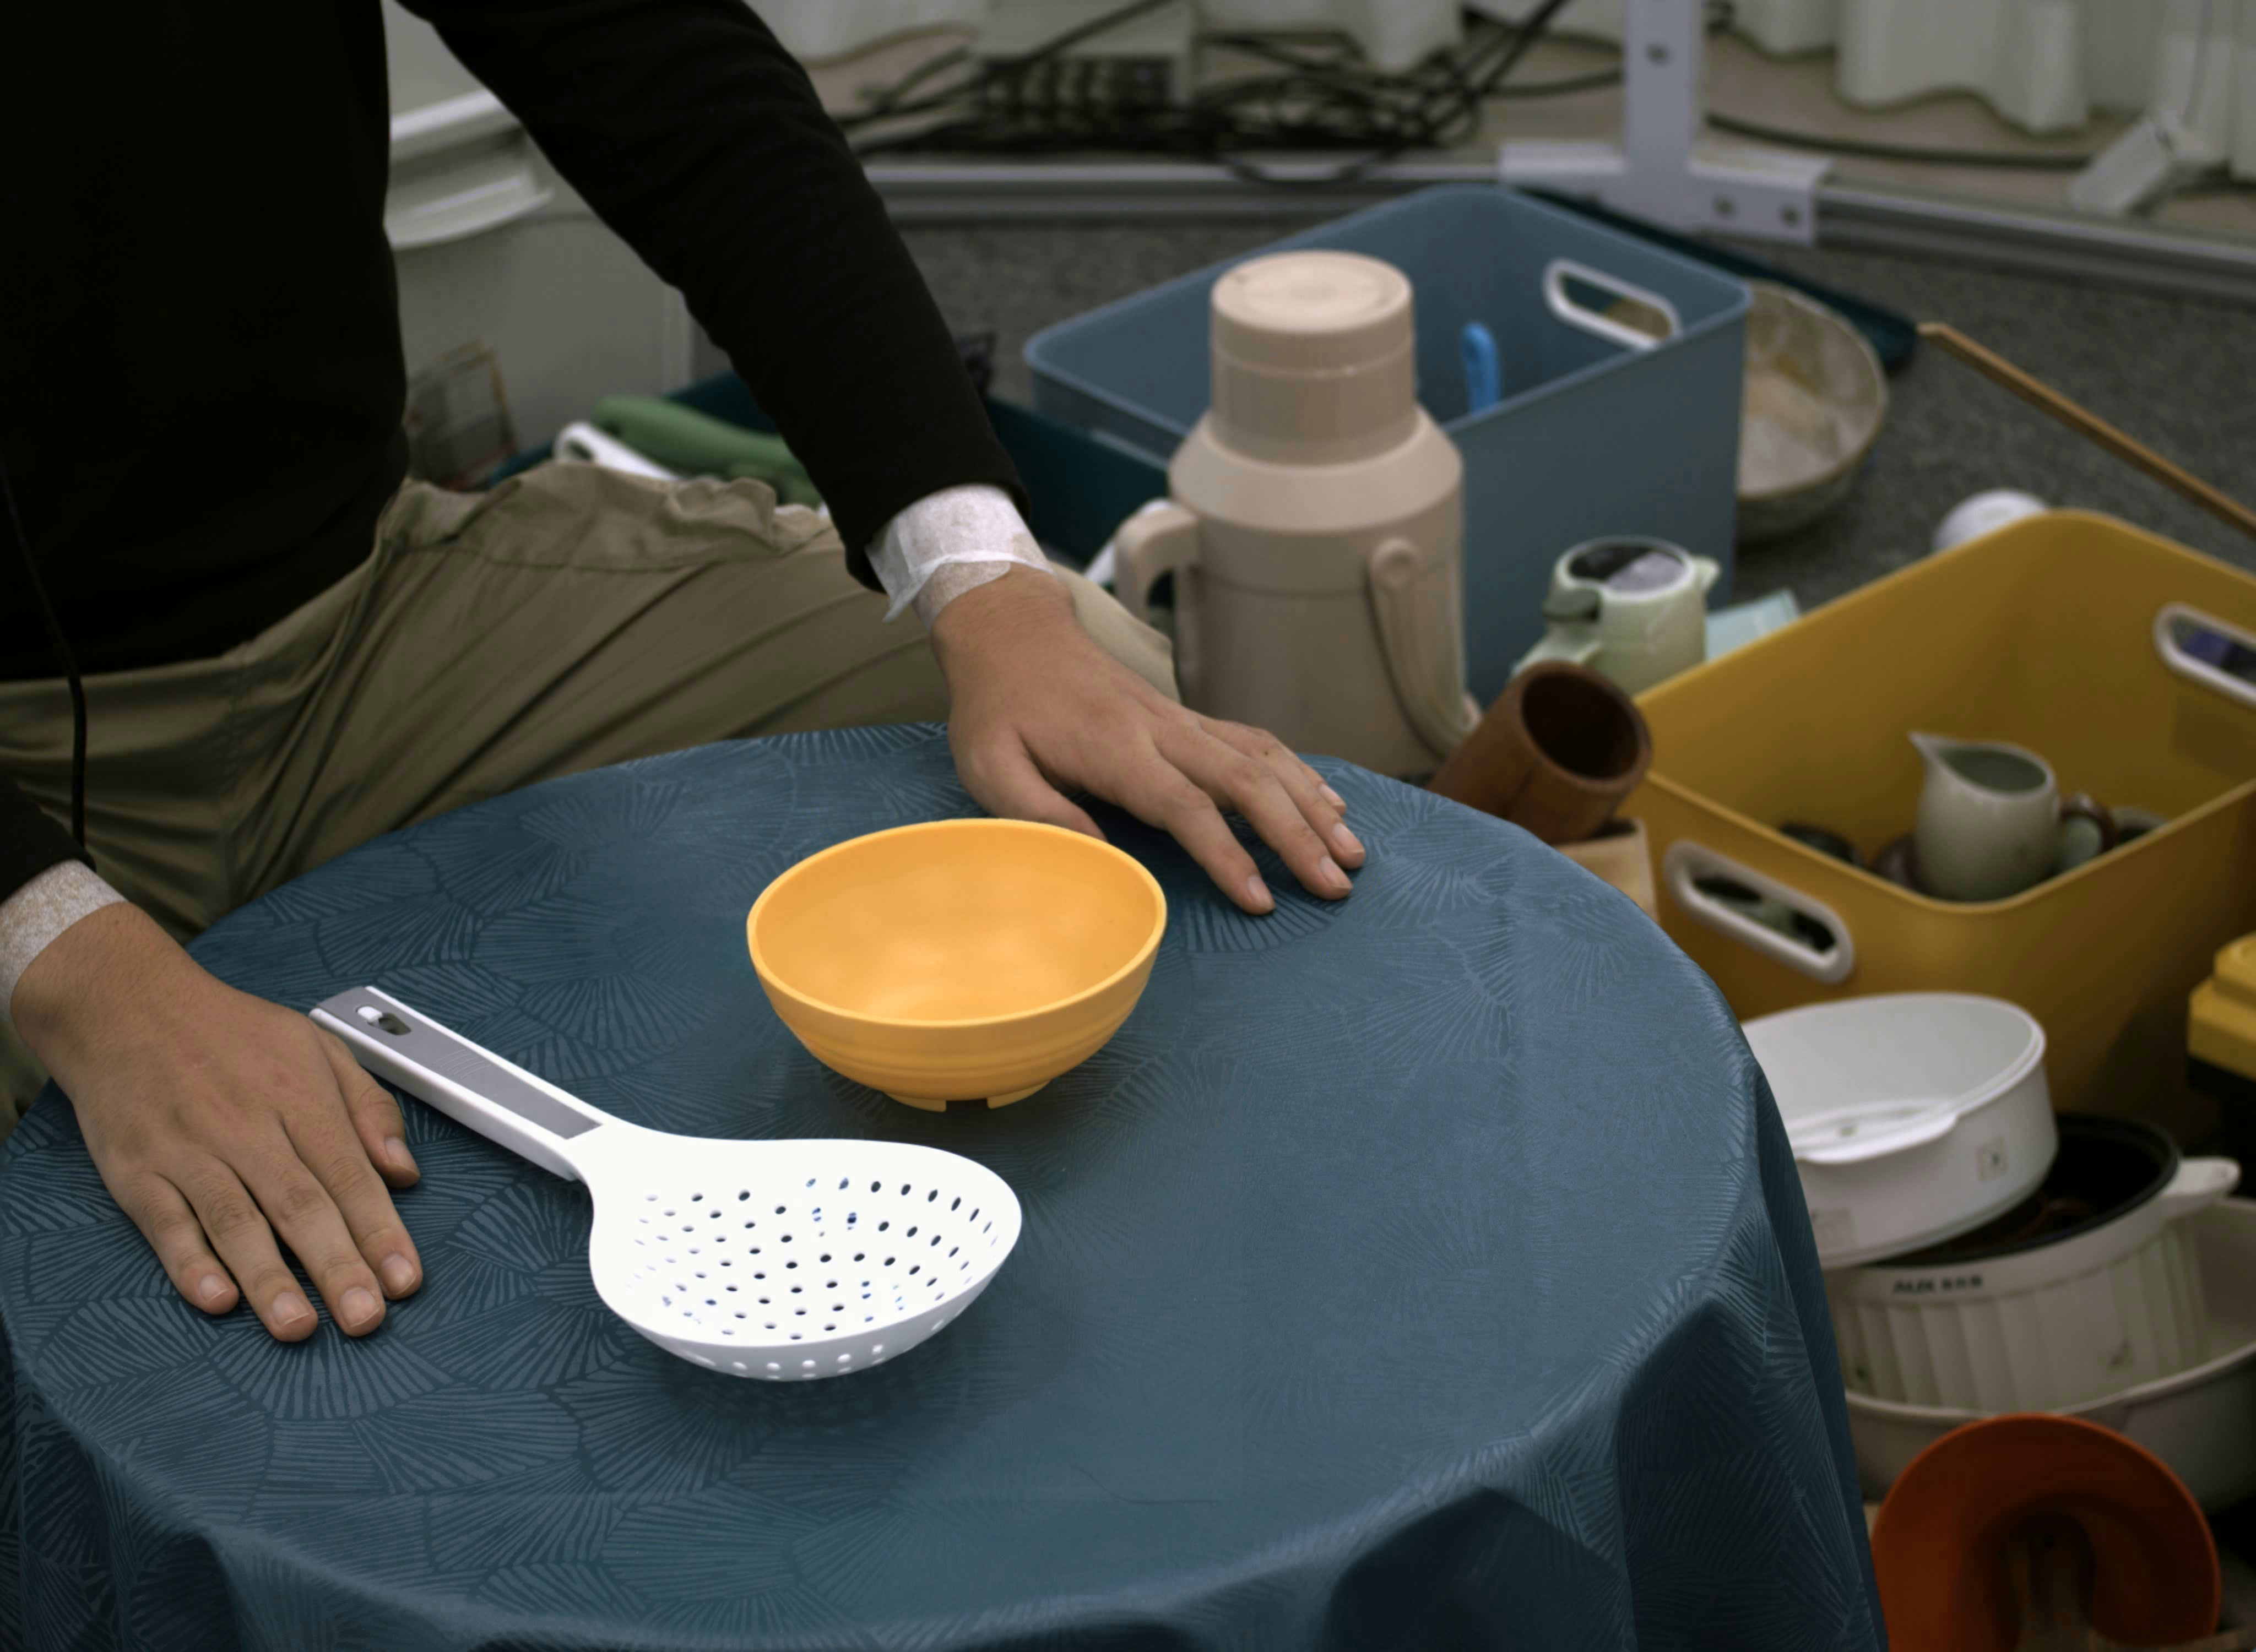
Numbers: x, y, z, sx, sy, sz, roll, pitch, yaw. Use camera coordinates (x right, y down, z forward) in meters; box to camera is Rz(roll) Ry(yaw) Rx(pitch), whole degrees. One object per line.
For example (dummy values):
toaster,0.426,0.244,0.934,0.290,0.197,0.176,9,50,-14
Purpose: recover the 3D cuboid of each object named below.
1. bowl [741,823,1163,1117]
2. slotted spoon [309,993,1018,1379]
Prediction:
bowl,-0.060,0.058,1.929,0.144,0.059,0.147,0,27,1
slotted spoon,-0.169,0.111,1.850,0.137,0.045,0.349,-23,32,-34
